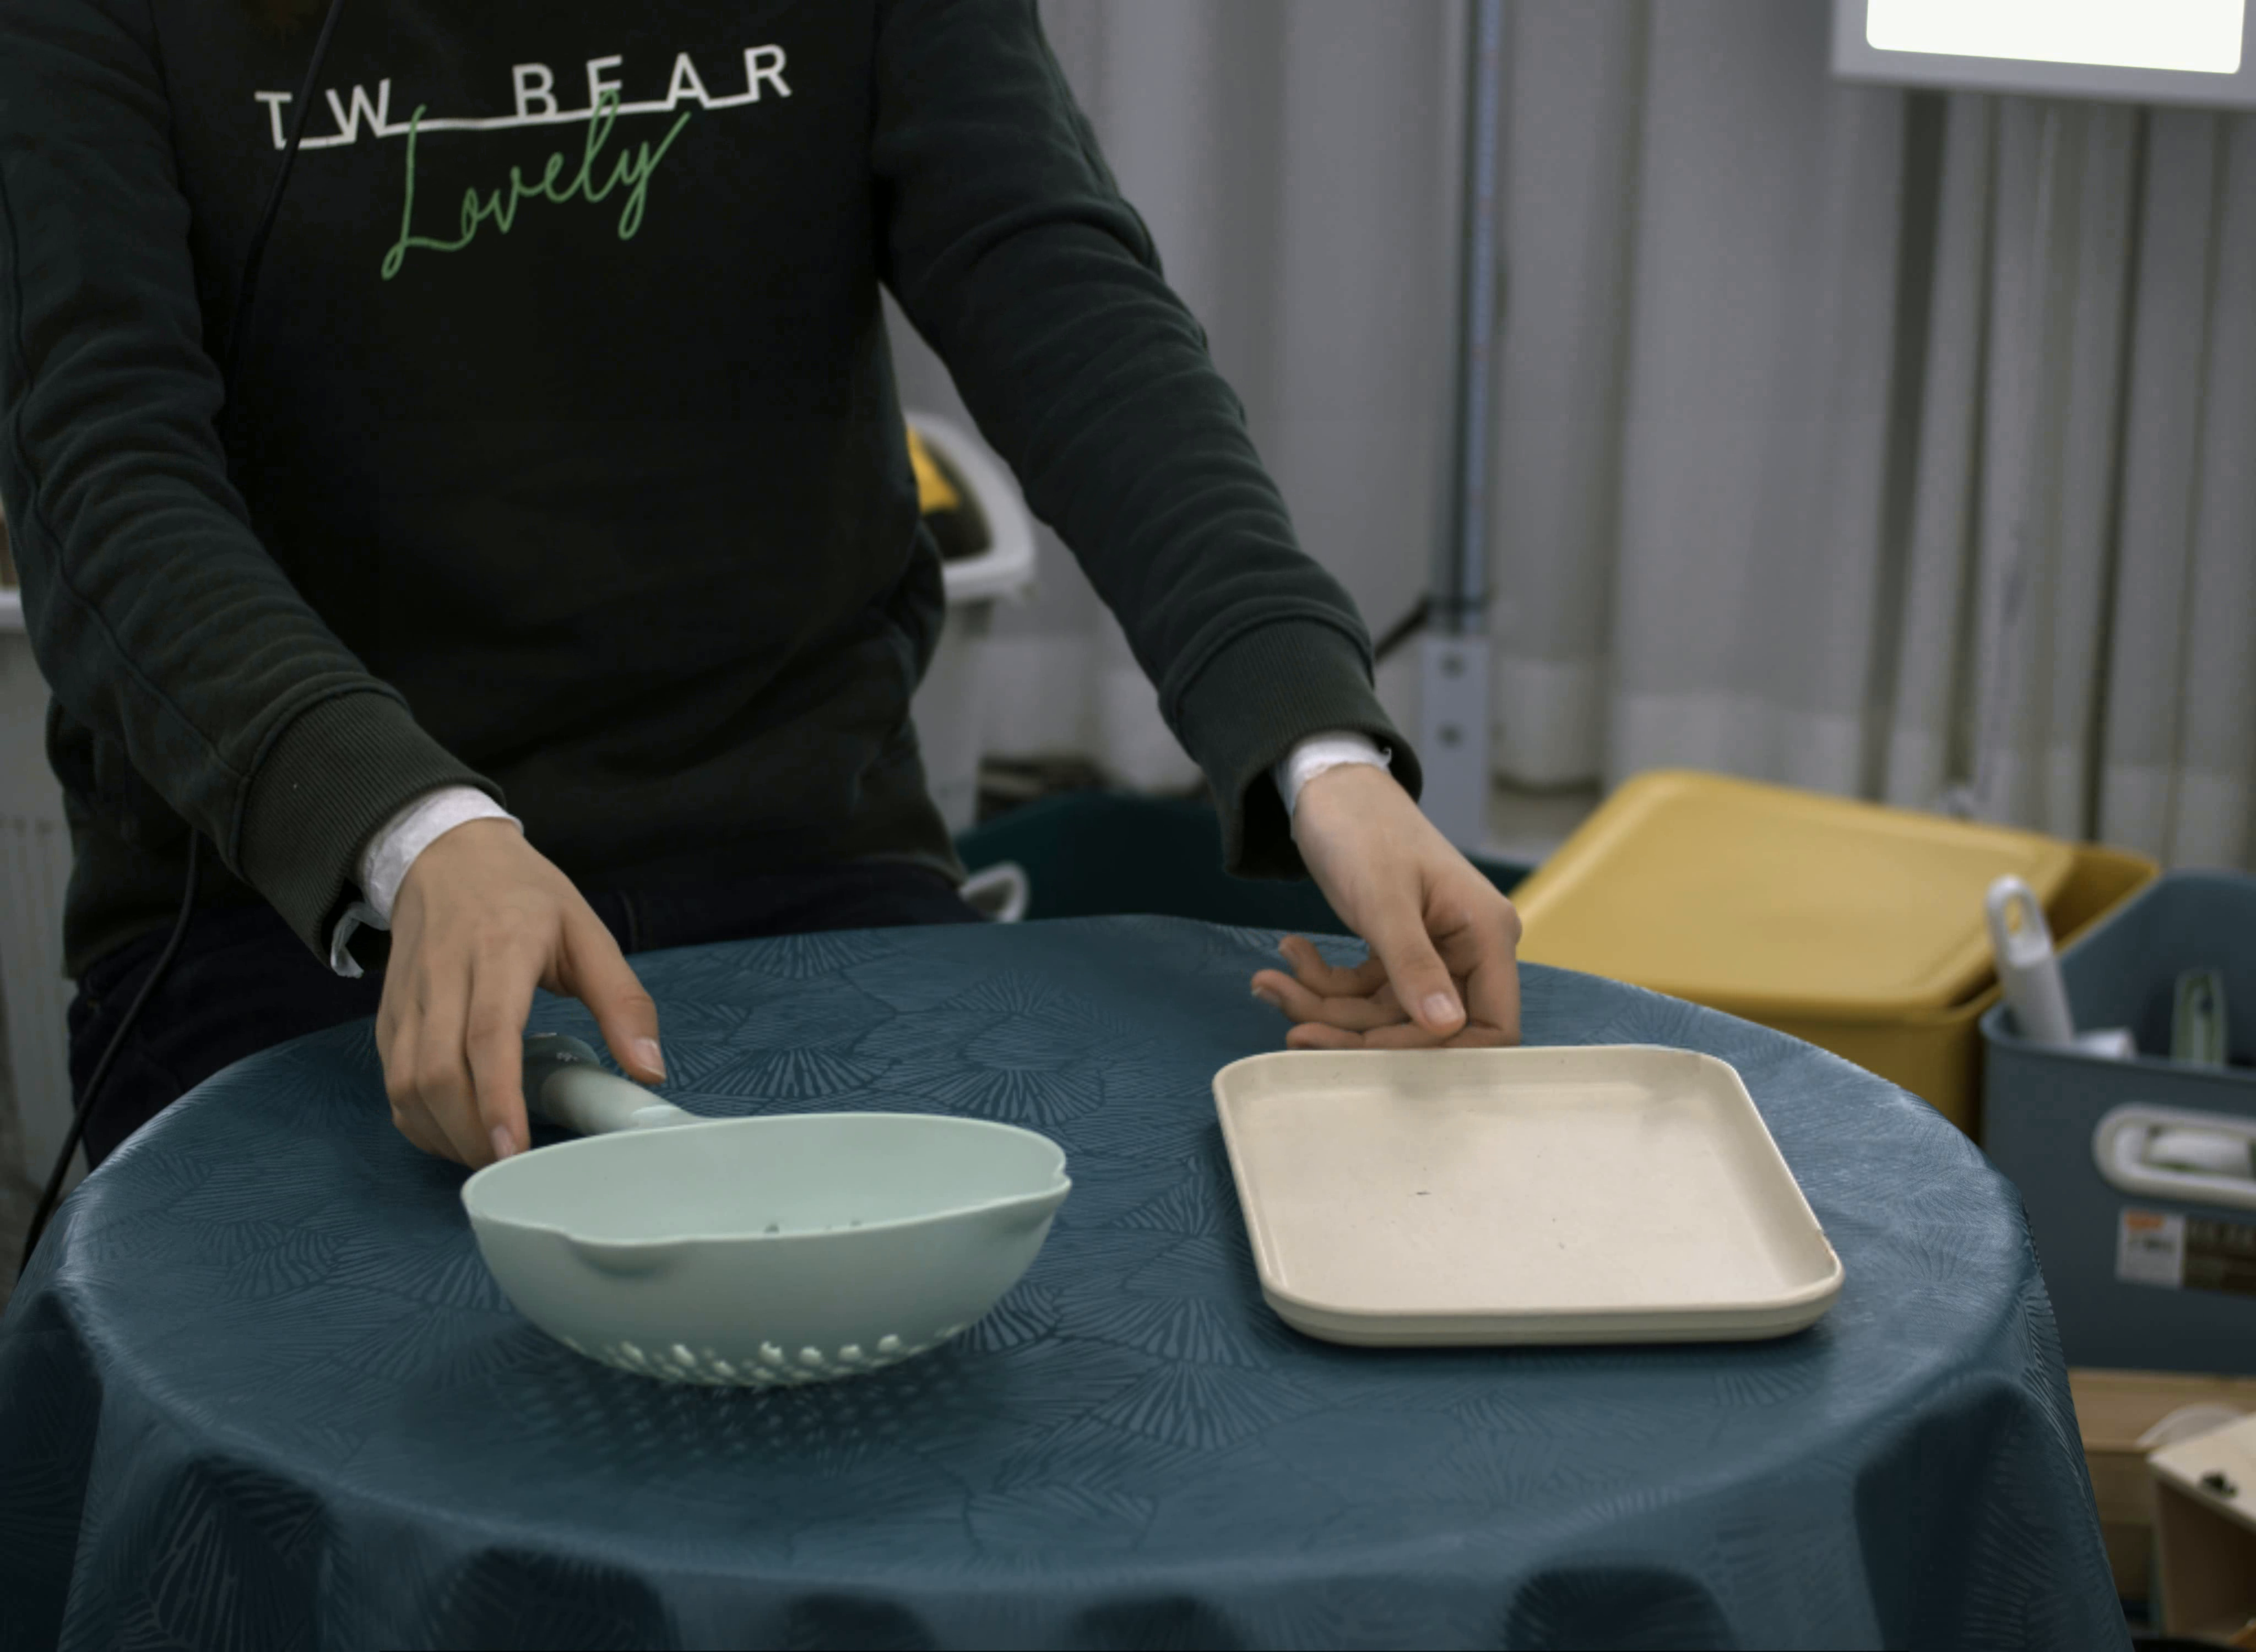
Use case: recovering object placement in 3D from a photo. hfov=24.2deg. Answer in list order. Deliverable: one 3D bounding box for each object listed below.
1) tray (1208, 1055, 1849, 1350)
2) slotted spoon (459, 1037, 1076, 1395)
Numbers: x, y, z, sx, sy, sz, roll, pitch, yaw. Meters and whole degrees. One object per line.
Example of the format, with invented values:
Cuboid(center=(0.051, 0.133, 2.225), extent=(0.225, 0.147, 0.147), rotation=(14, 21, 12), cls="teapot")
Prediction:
Cuboid(center=(0.116, 0.113, 1.601), extent=(0.171, 0.017, 0.238), rotation=(0, 15, -4), cls="tray")
Cuboid(center=(-0.134, 0.098, 1.554), extent=(0.170, 0.076, 0.355), rotation=(-5, 16, -20), cls="slotted spoon")
